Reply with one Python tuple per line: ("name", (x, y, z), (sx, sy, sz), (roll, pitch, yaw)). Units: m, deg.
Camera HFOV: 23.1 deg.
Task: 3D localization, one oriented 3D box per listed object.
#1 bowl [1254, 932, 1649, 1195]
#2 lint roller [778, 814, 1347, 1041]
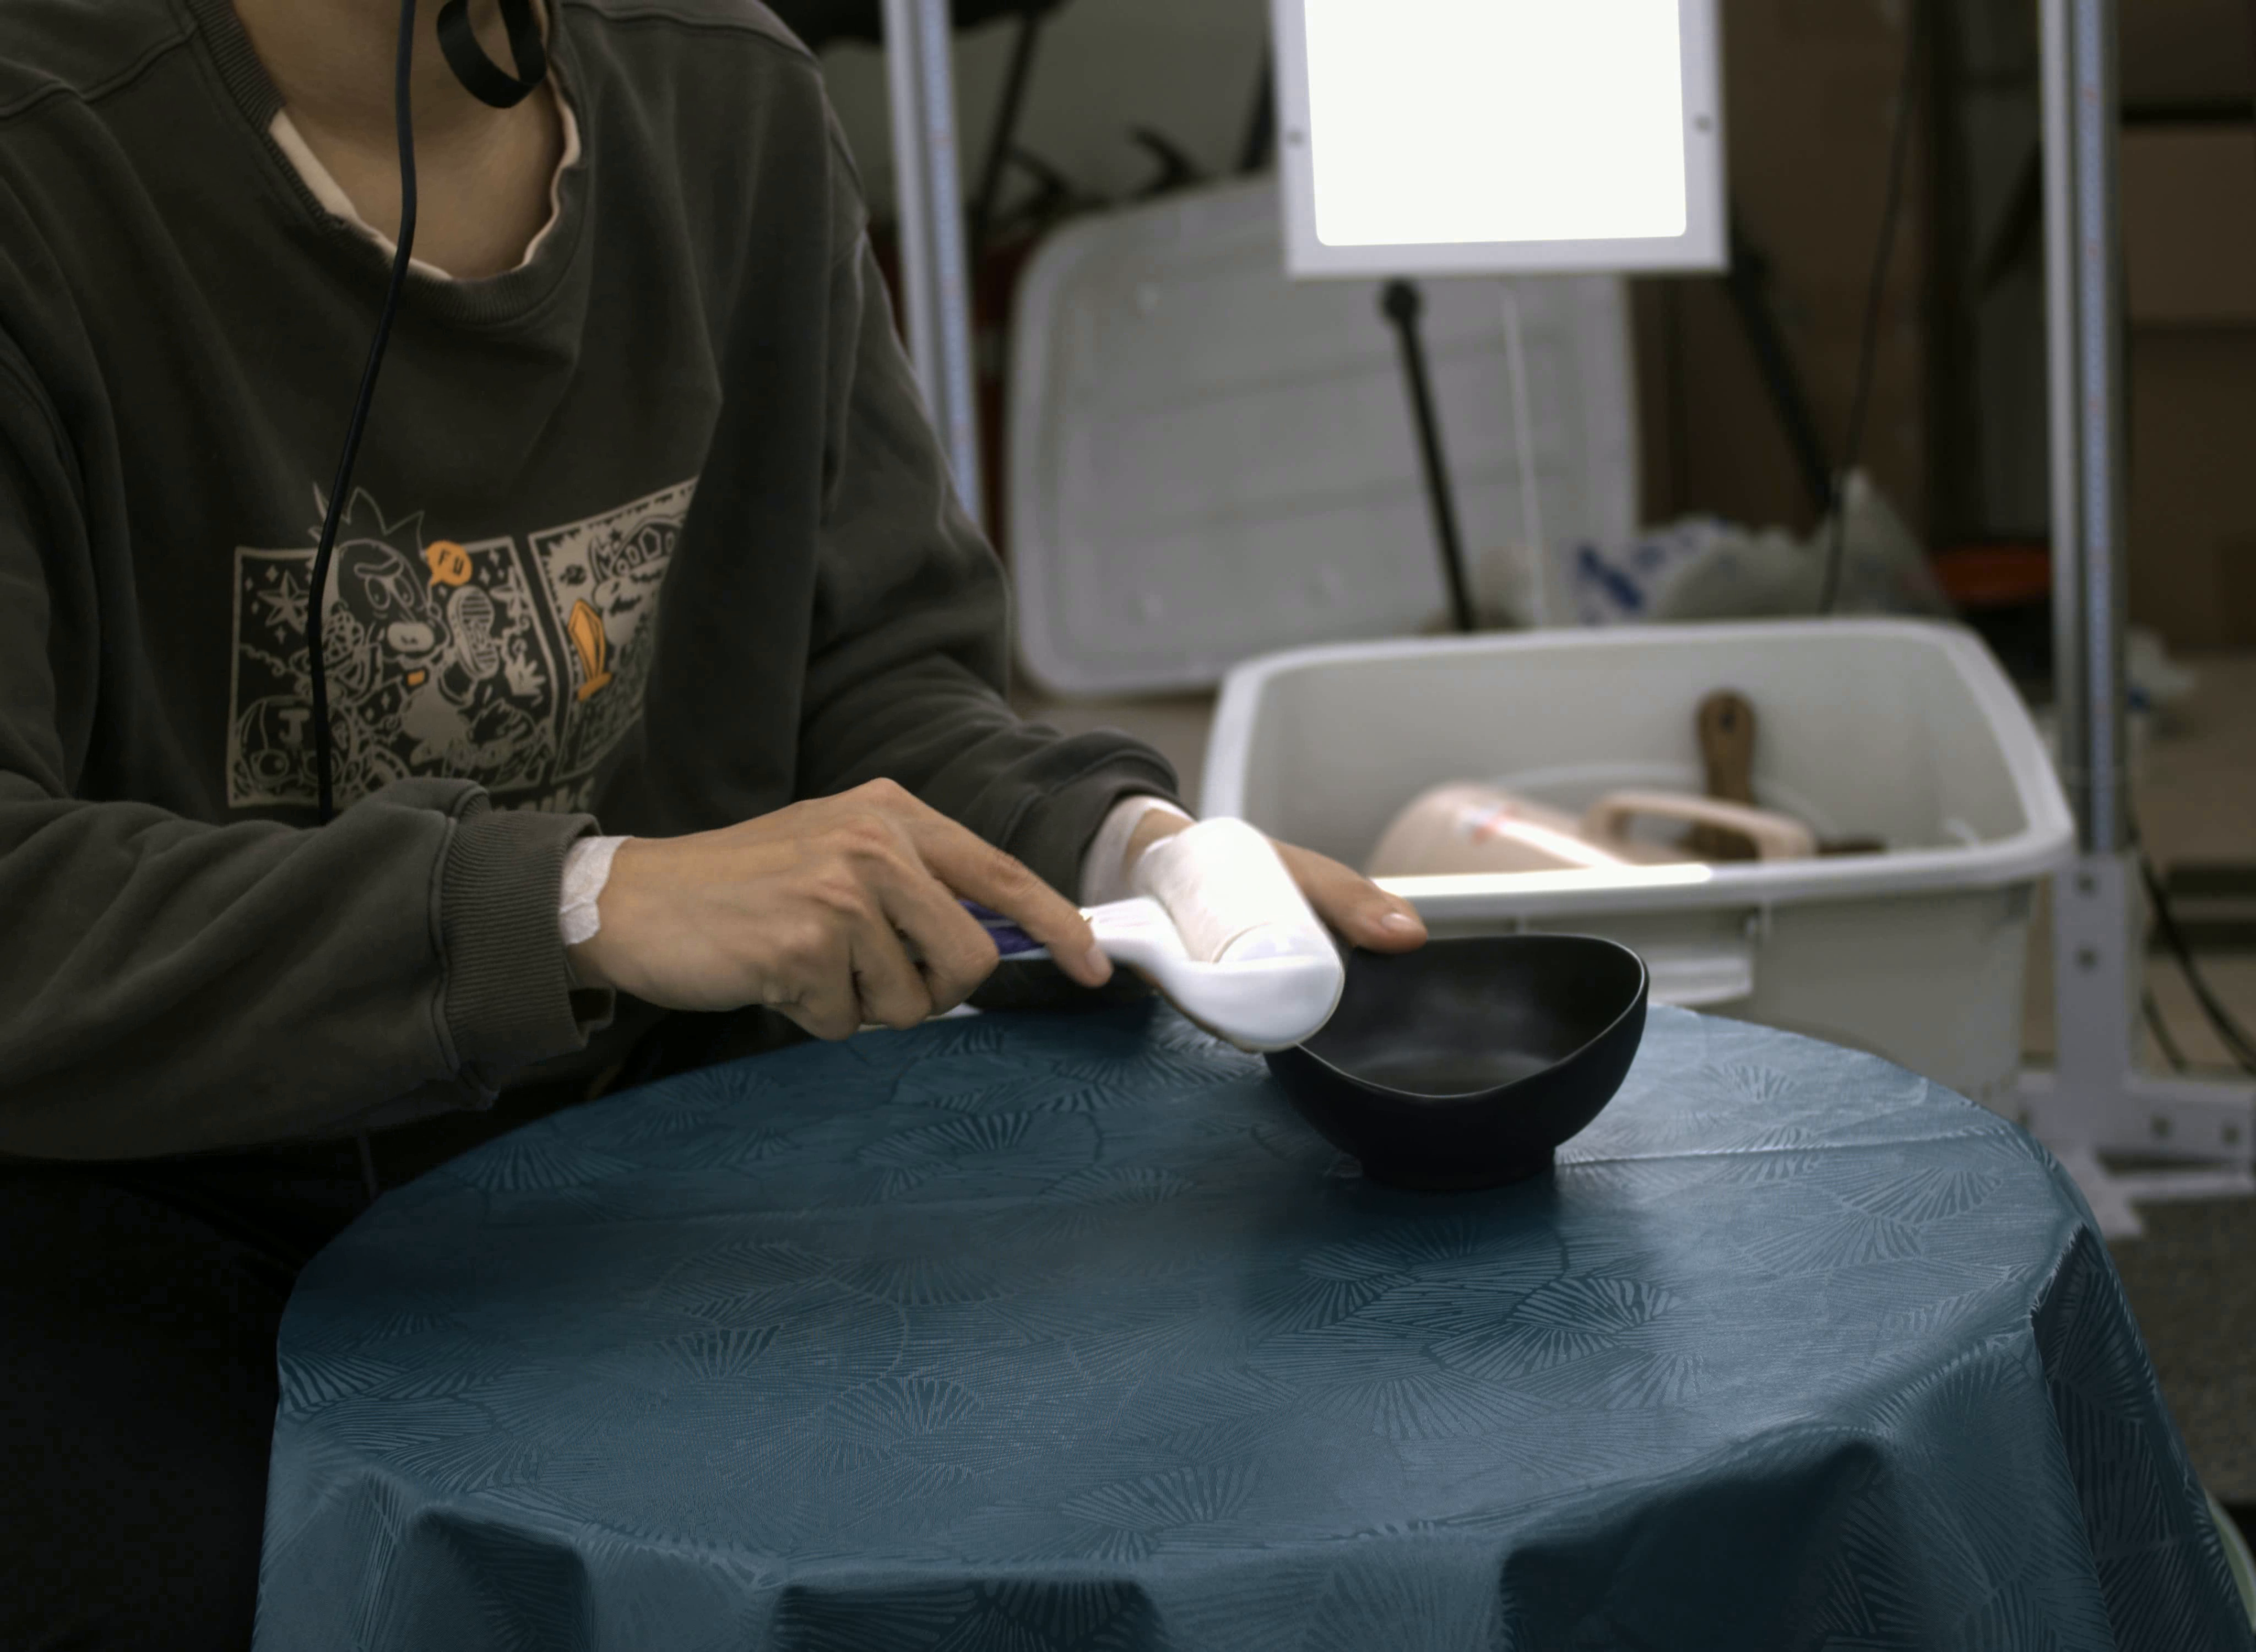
("bowl", (0.113, 0.085, 1.891), (0.137, 0.067, 0.169), (-5, 16, 3))
("lint roller", (-0.024, 0.024, 1.813), (0.179, 0.050, 0.133), (9, 17, -10))
